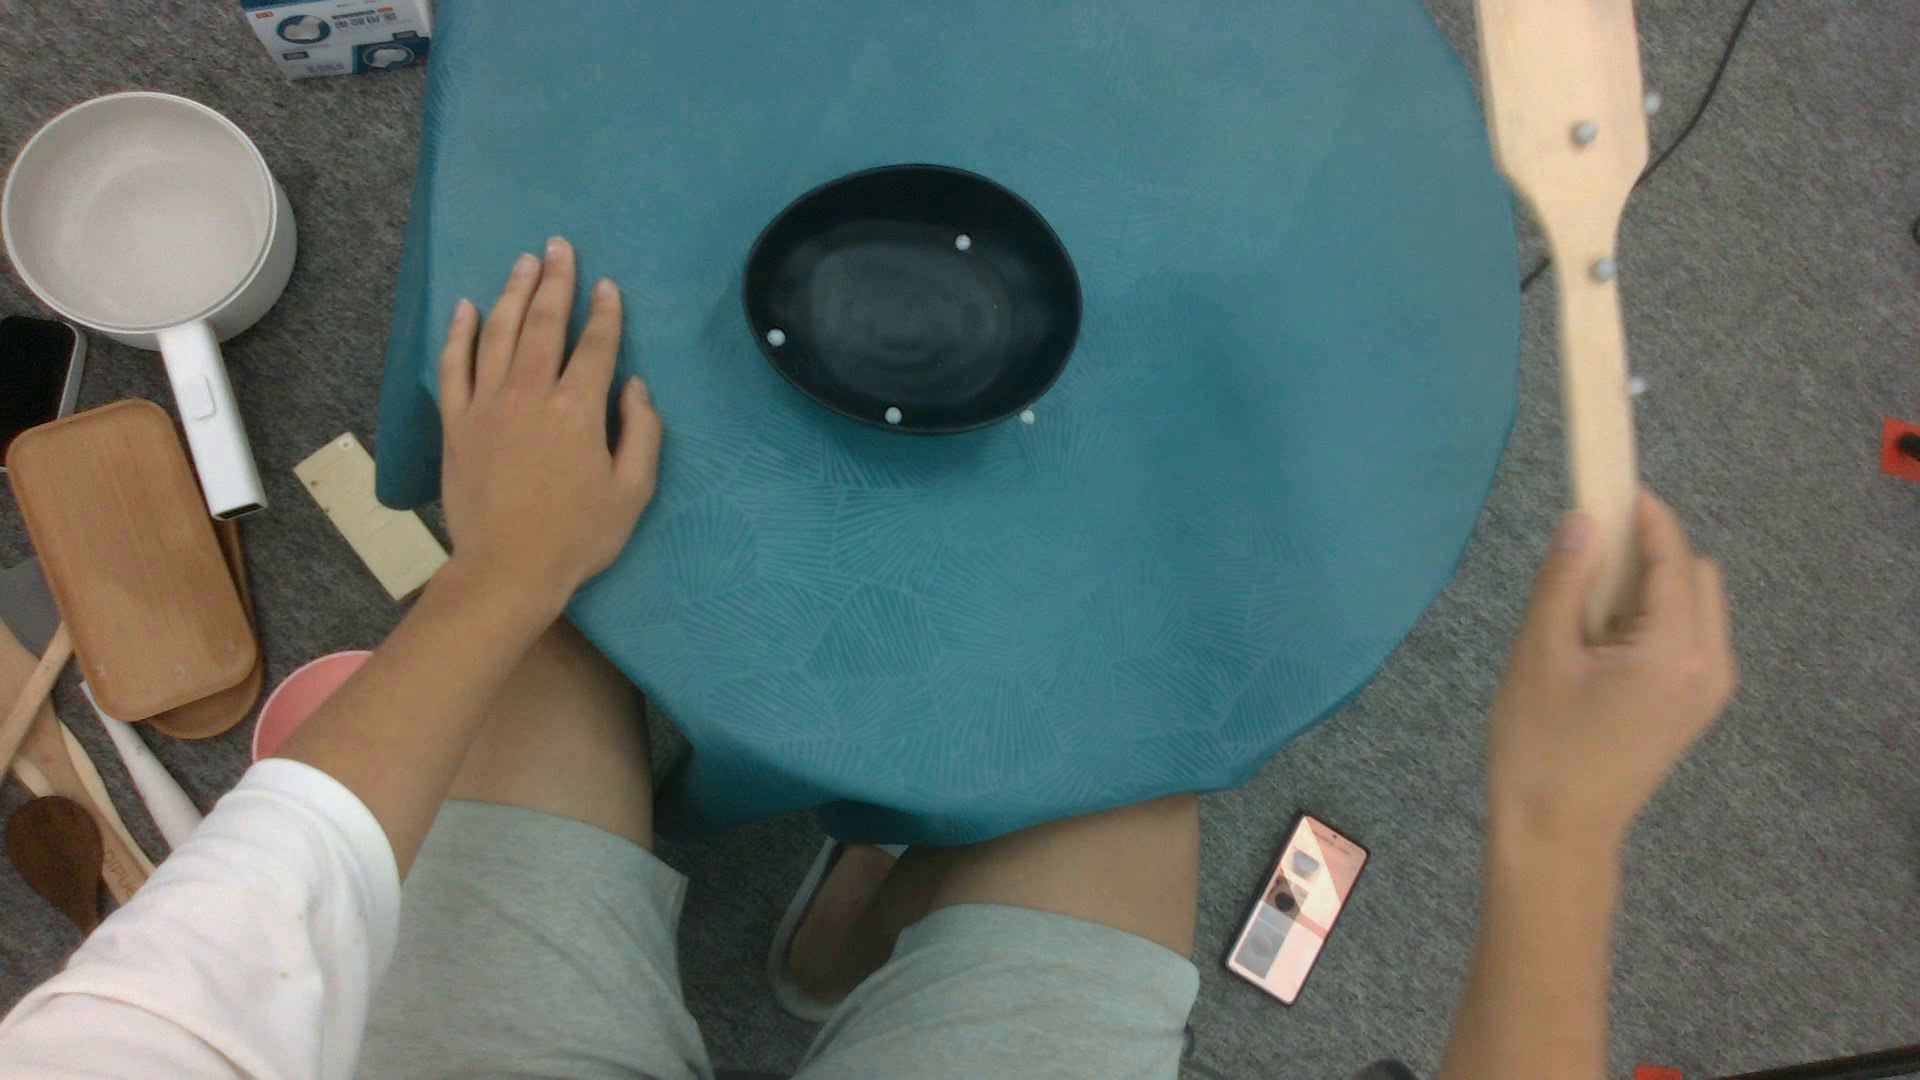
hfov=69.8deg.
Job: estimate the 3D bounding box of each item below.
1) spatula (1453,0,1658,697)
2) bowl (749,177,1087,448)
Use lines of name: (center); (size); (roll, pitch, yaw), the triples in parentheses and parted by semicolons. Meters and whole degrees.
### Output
spatula: (0.253, -0.082, 0.564); (0.072, 0.010, 0.293); (-6, 86, -13)
bowl: (-0.023, -0.111, 0.712); (0.170, 0.066, 0.137); (1, 83, -8)
